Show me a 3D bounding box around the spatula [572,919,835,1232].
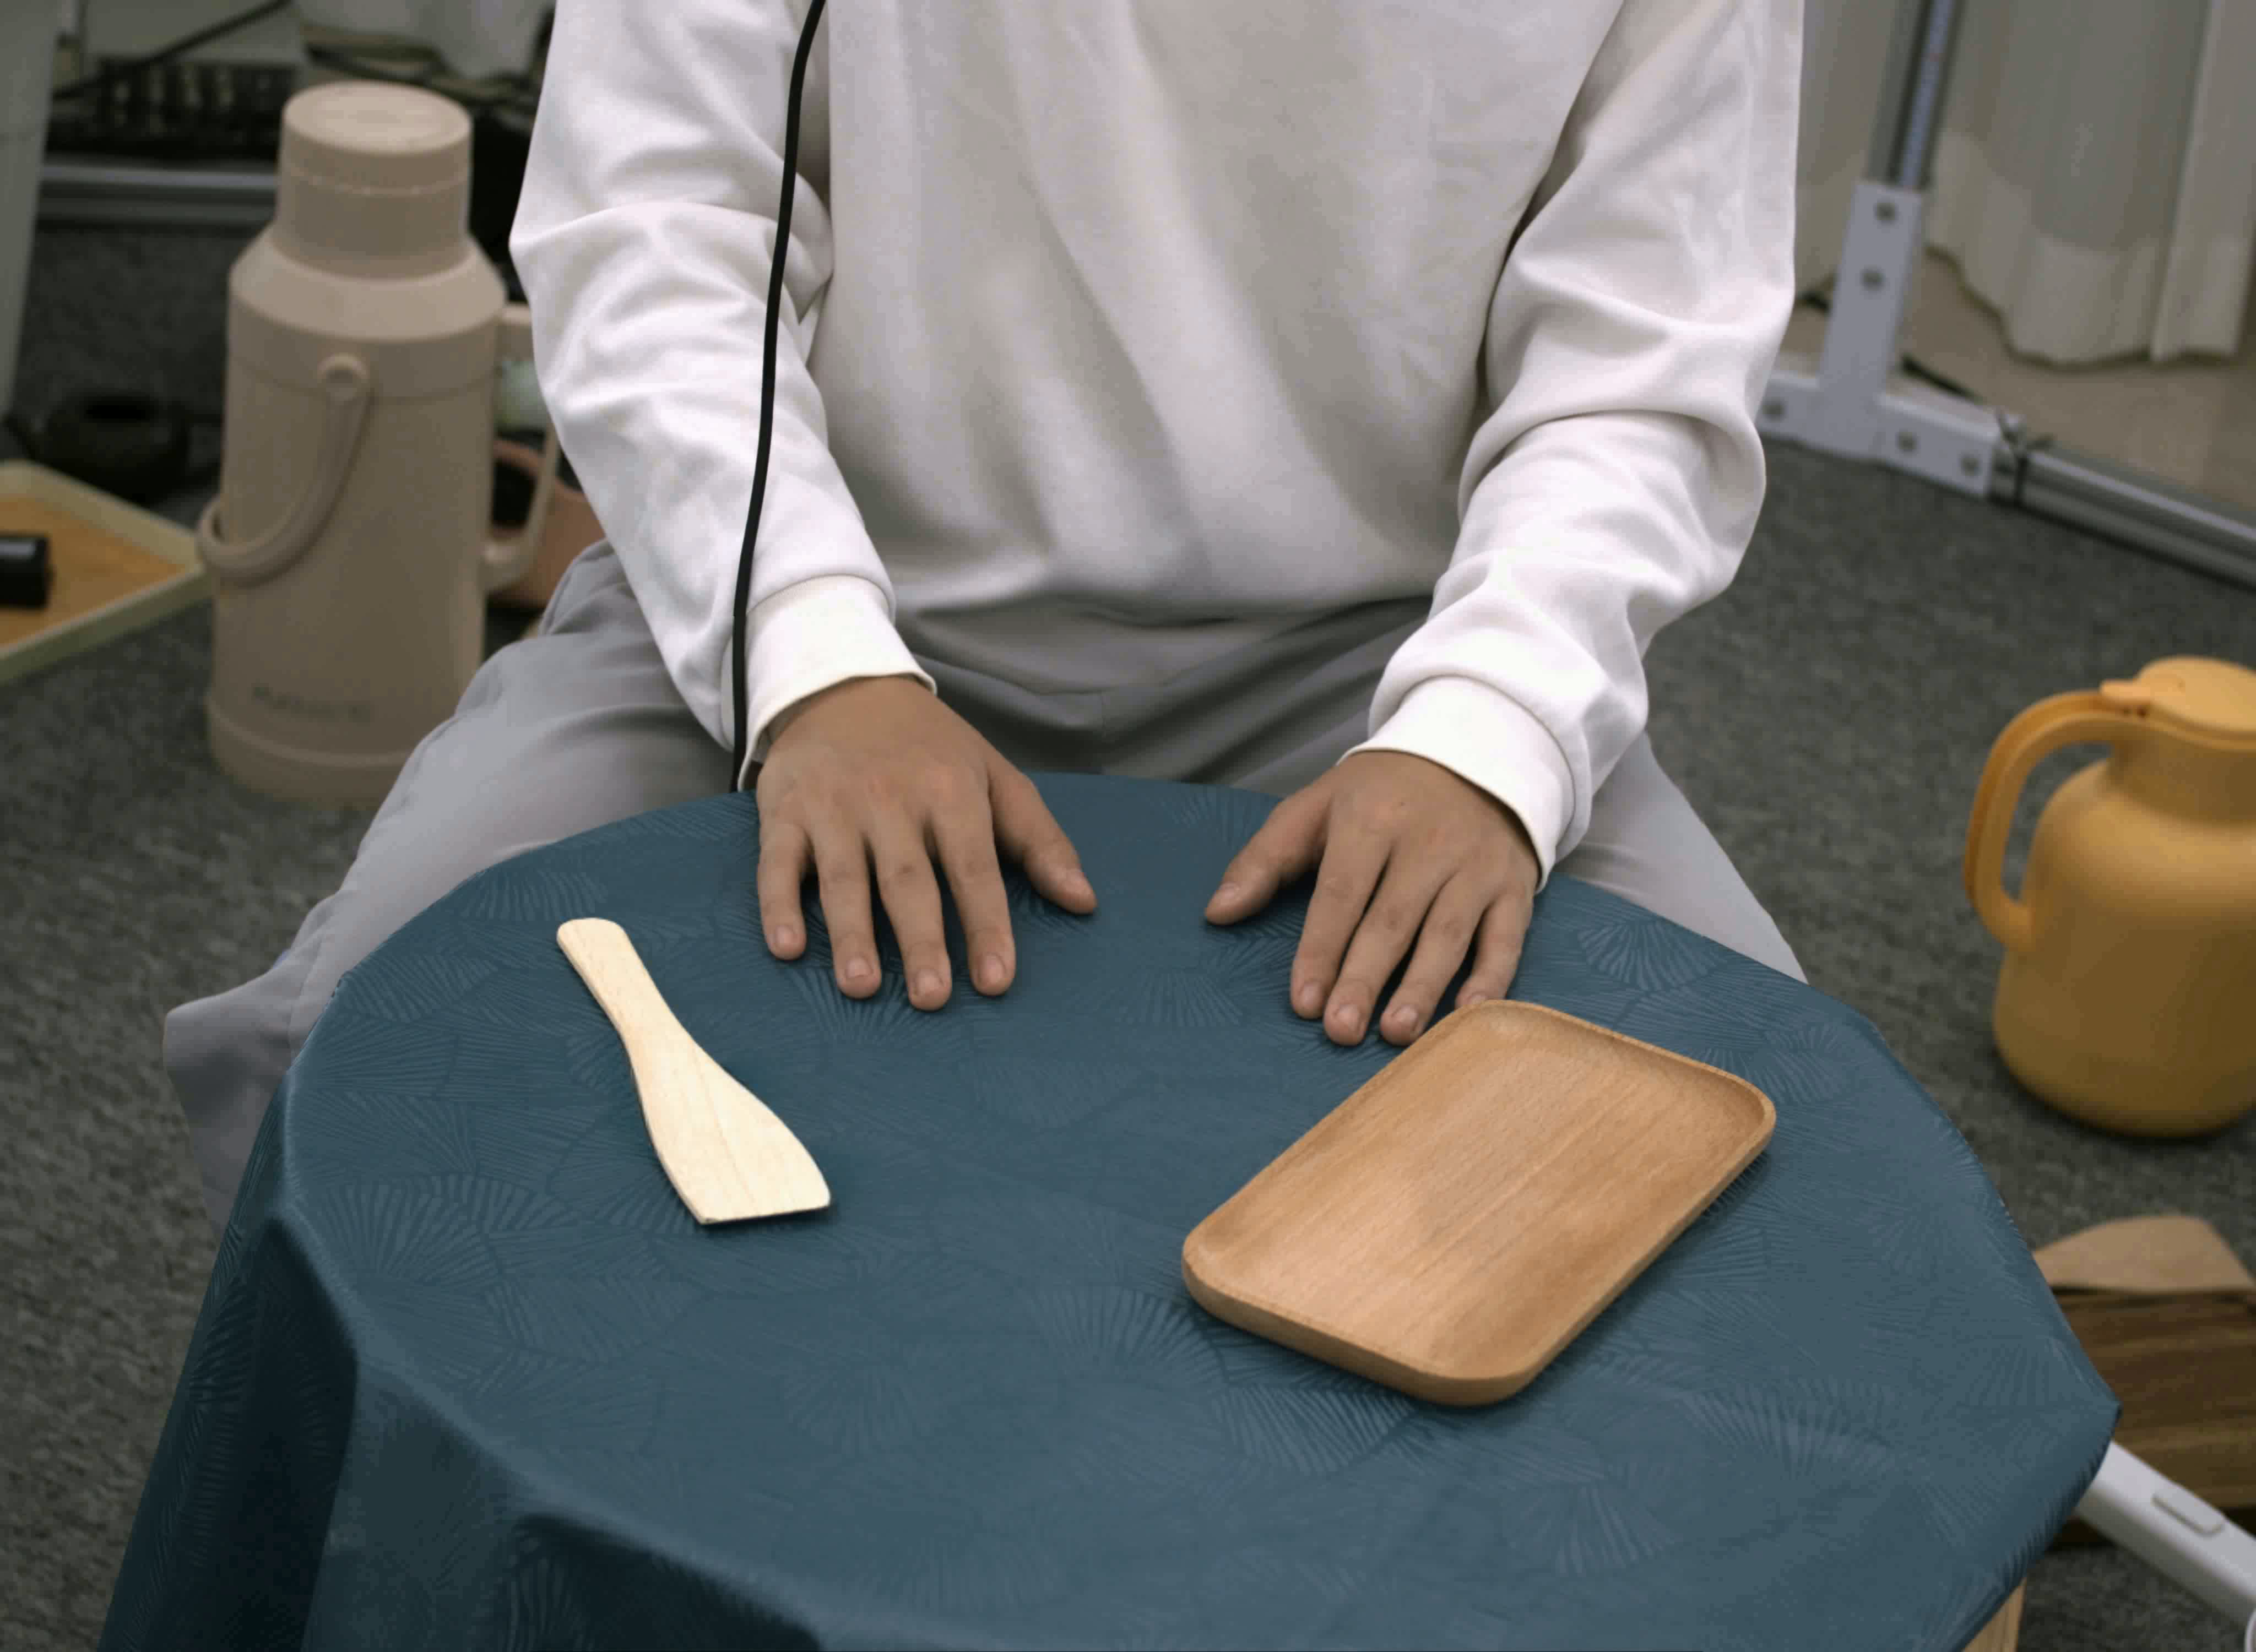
[{"bbox_3d":[-0.154,0.084,1.839,0.050,0.005,0.210,-4,29,-22],"label":"spatula"}]

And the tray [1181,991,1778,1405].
[{"bbox_3d":[0.122,0.124,1.813,0.131,0.023,0.250,22,30,23],"label":"tray"}]
